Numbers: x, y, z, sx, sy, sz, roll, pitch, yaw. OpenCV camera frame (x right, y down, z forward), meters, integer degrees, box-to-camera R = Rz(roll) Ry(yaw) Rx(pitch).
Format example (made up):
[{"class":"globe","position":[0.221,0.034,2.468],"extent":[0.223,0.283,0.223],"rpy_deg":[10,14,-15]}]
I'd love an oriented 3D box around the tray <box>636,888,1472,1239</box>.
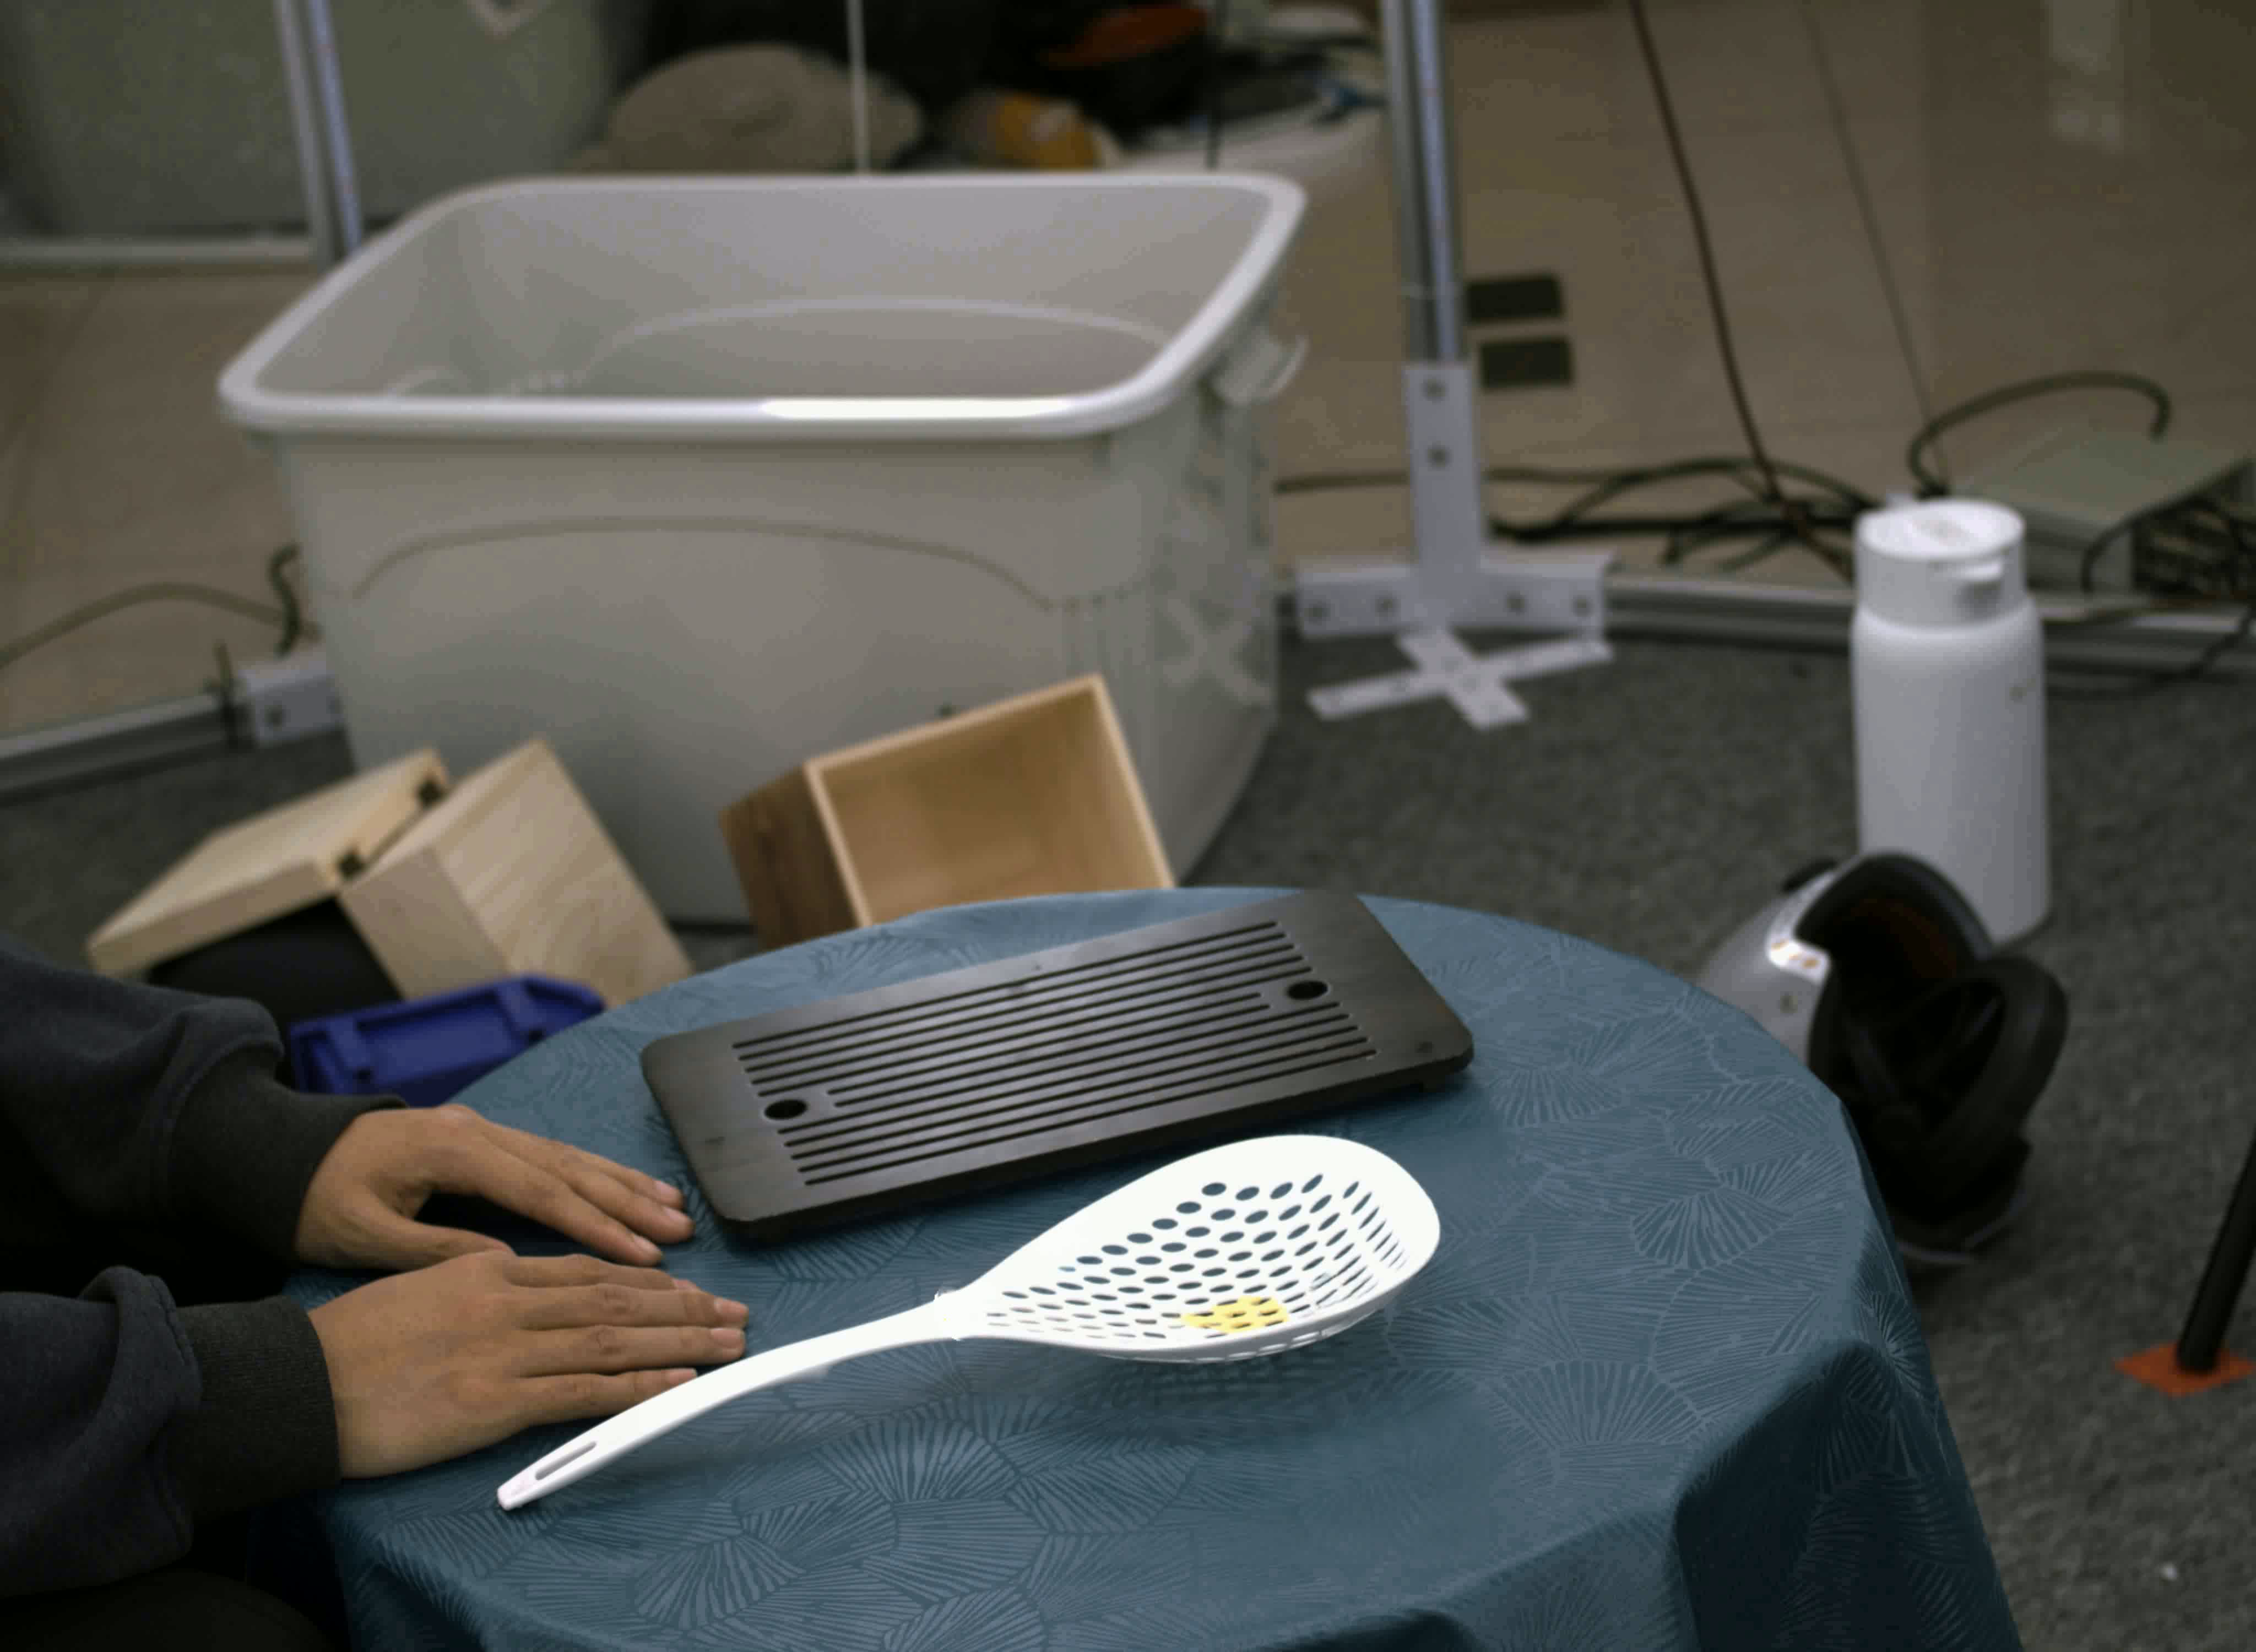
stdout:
[{"class":"tray","position":[-0.031,0.093,2.233],"extent":[0.305,0.019,0.168],"rpy_deg":[-13,25,-12]}]

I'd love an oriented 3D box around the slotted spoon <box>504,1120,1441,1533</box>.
[{"class":"slotted spoon","position":[-0.057,0.184,2.015],"extent":[0.347,0.051,0.135],"rpy_deg":[-12,28,-13]}]
